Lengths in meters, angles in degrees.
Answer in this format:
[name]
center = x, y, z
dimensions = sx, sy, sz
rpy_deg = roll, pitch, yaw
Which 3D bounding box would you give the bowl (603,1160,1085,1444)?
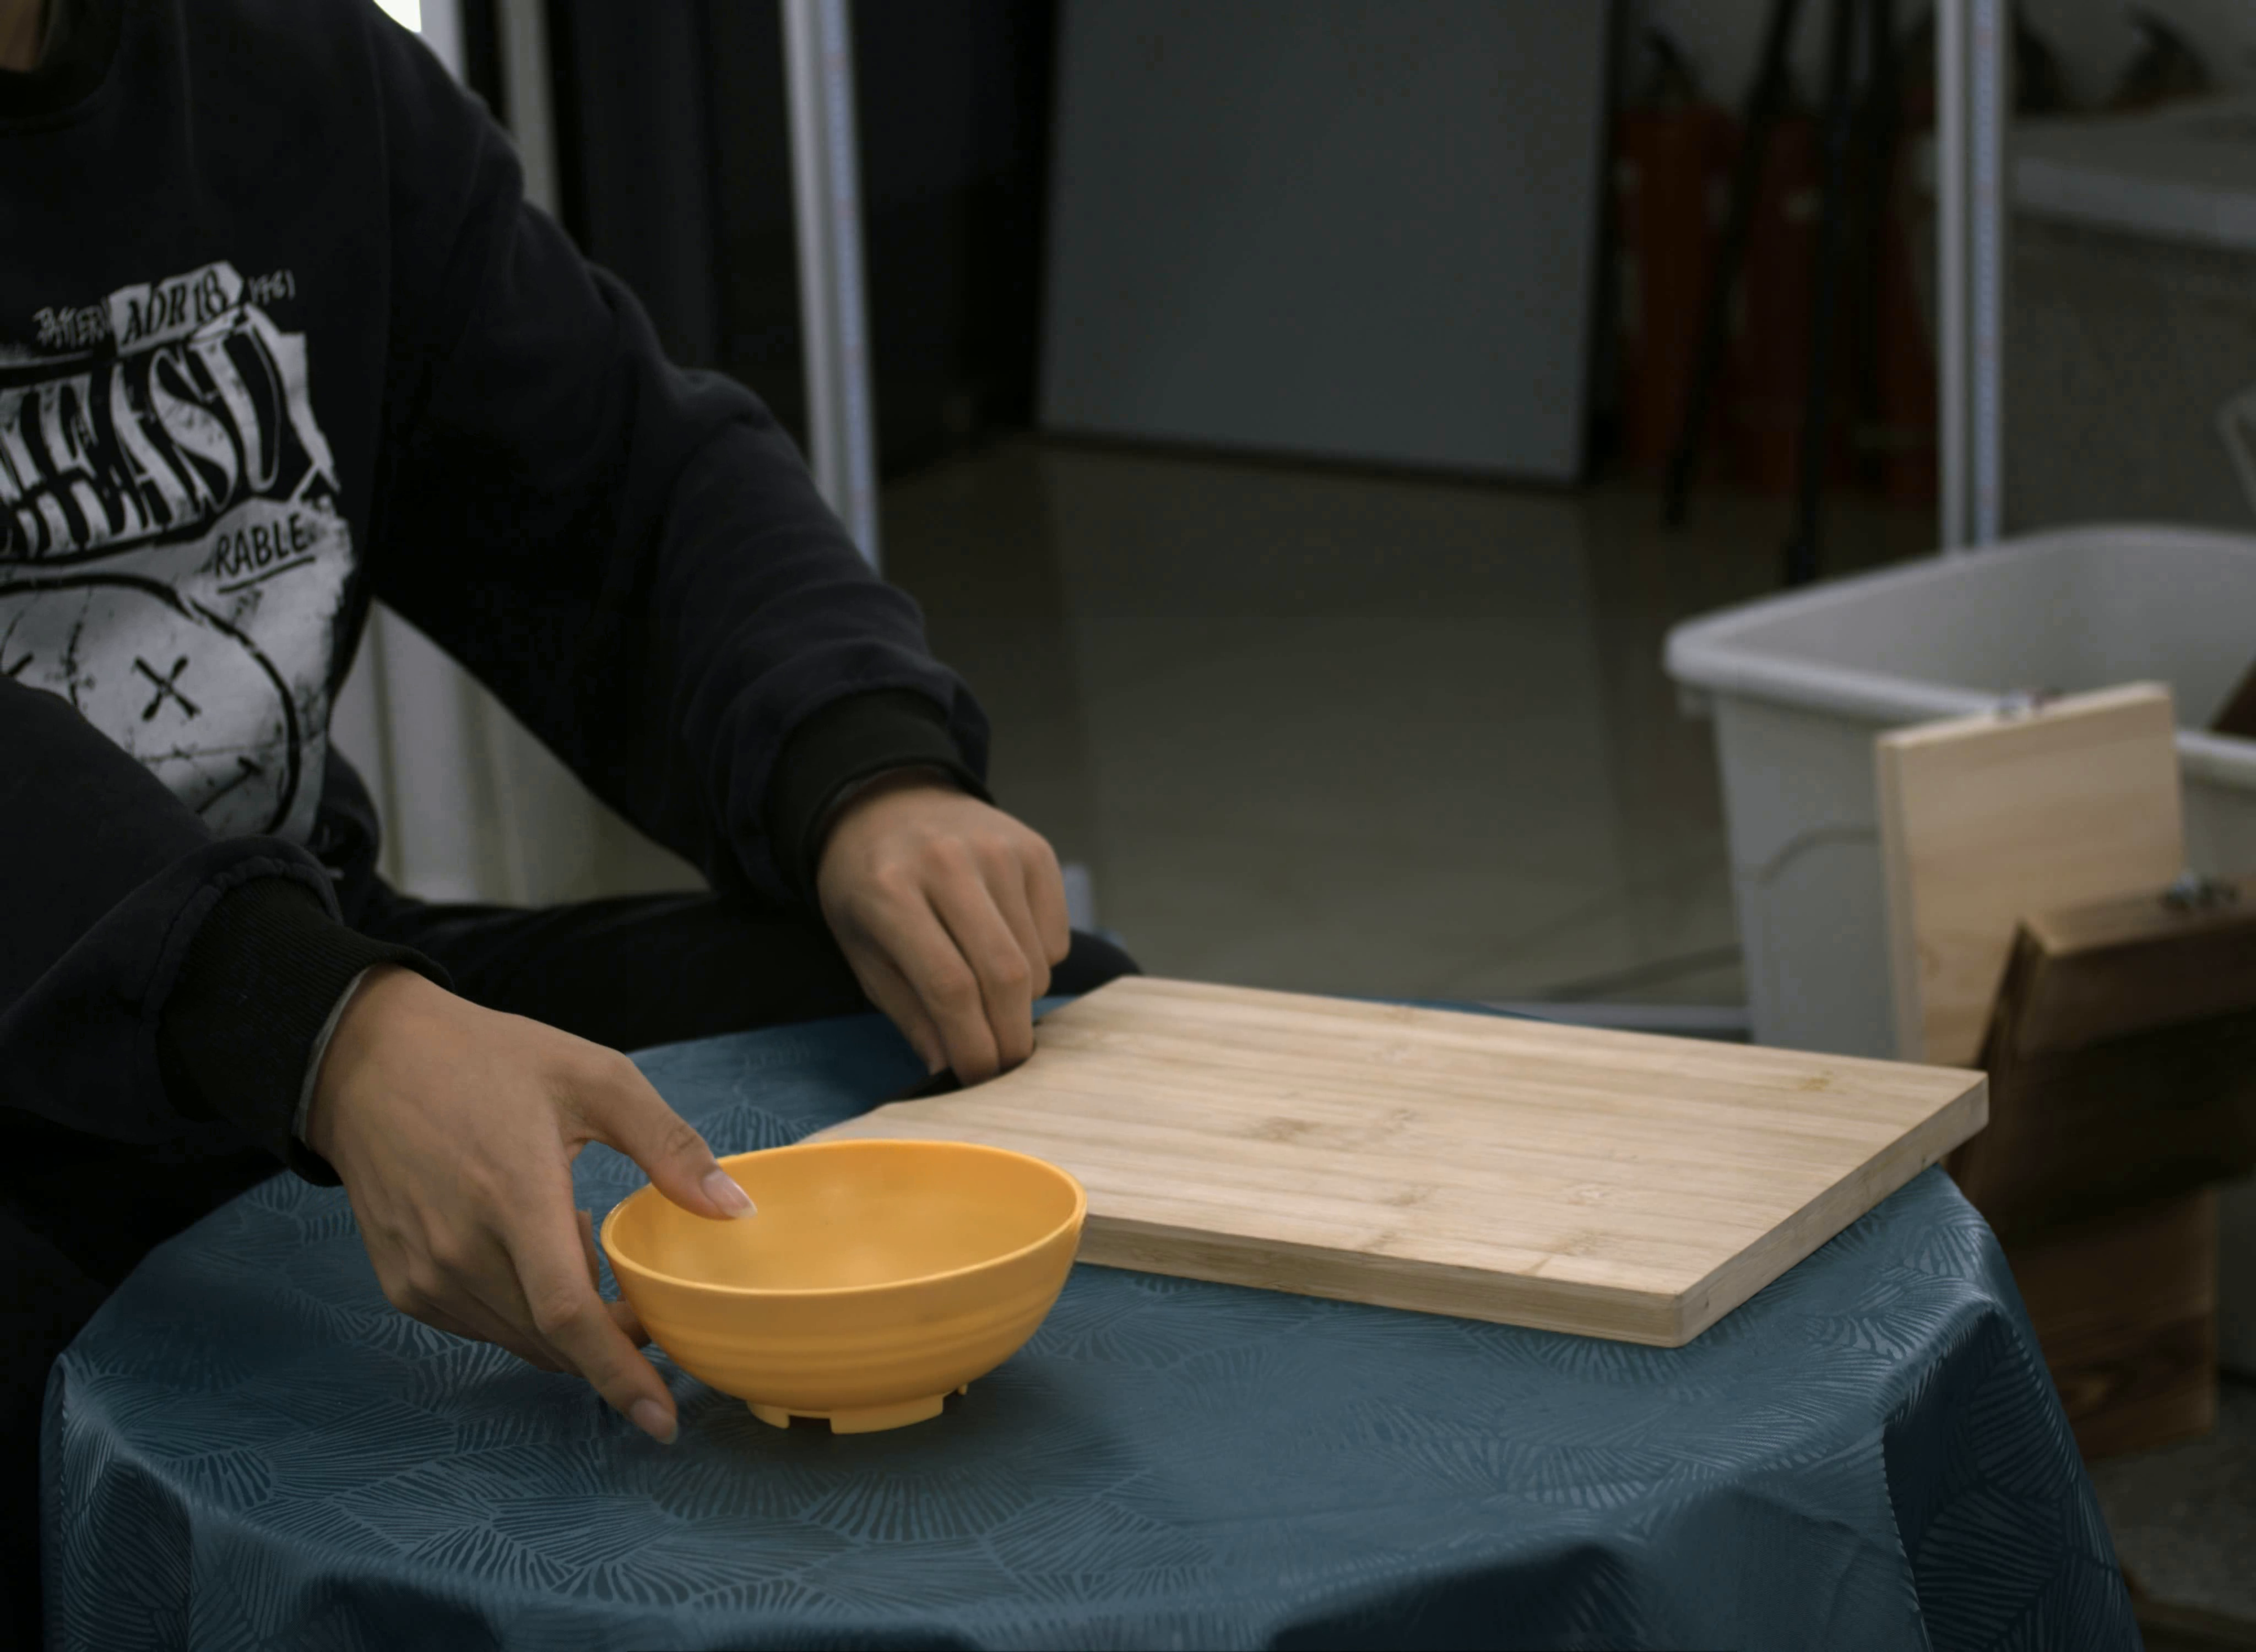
[bowl]
center = -0.082, 0.144, 1.589
dimensions = 0.143, 0.061, 0.145
rpy_deg = -4, 11, 0

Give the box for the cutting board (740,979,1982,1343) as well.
[cutting board]
center = 0.078, 0.106, 1.778
dimensions = 0.350, 0.024, 0.247
rpy_deg = 4, 16, 31
